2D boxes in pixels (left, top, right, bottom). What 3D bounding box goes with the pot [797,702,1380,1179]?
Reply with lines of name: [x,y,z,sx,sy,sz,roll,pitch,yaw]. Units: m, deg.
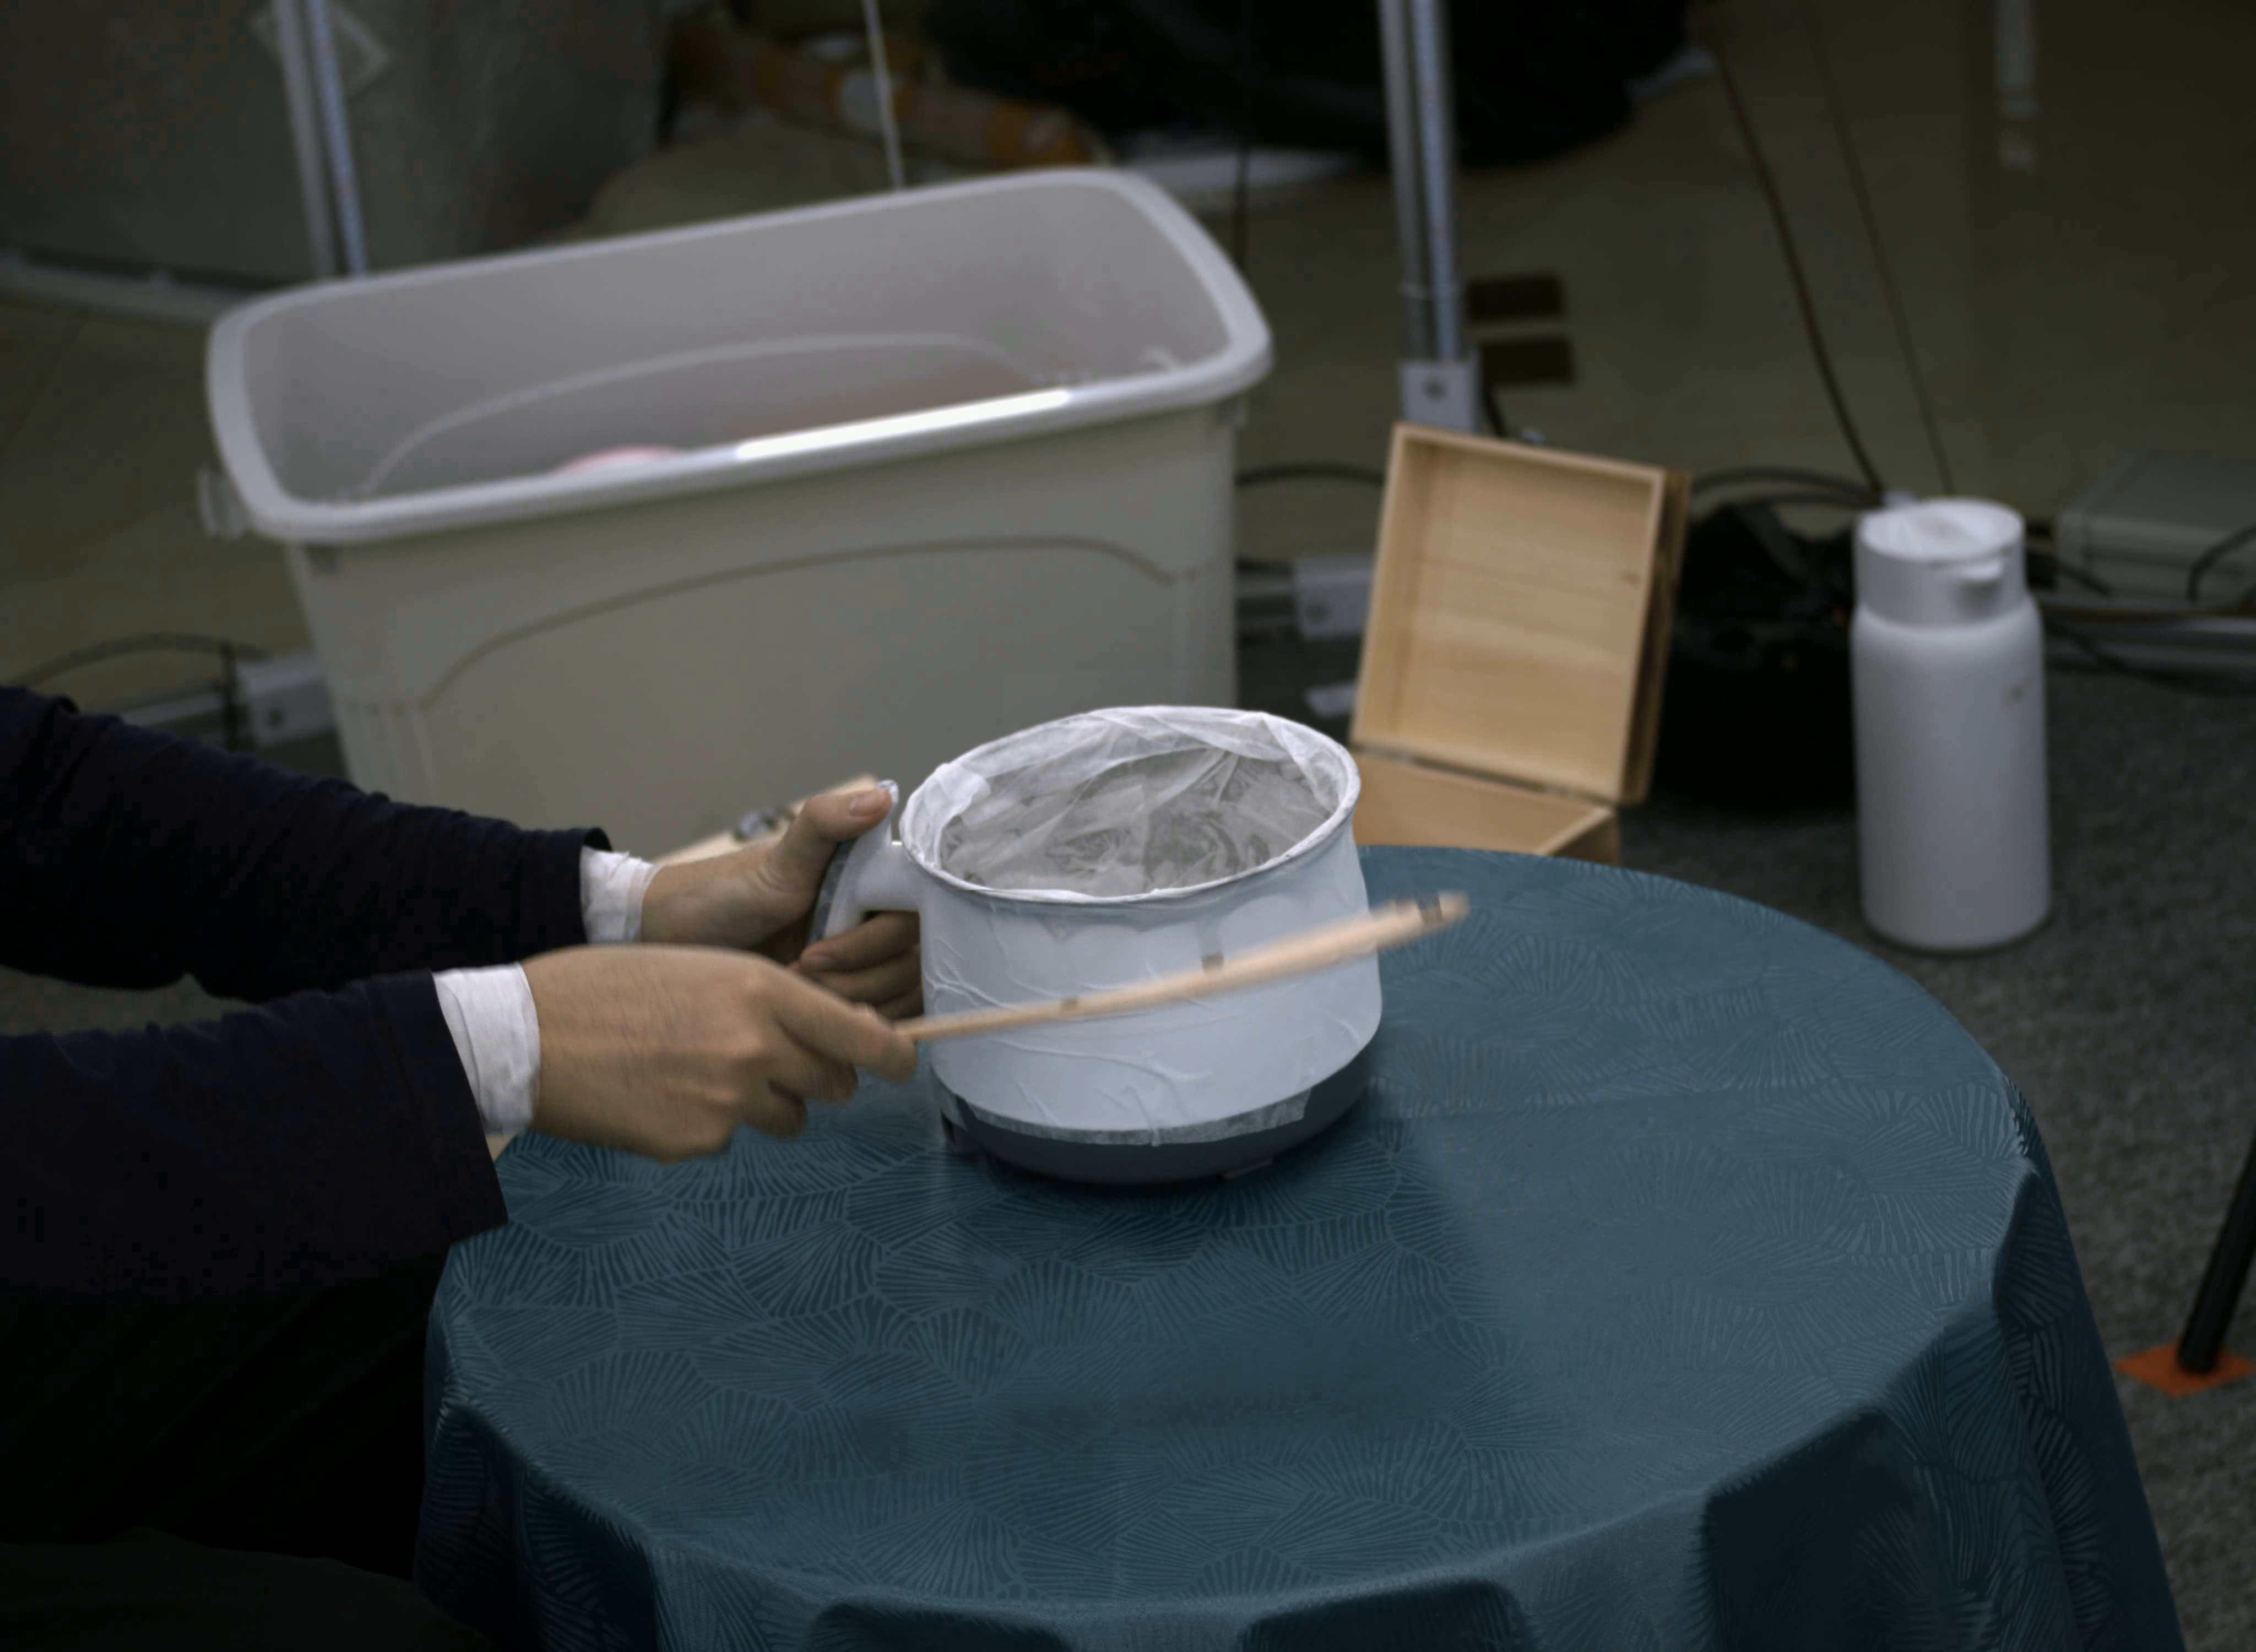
pot: [-0.019,0.044,2.188,0.233,0.139,0.176,3,26,16]

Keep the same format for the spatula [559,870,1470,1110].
spatula: [-0.040,0.057,1.986,0.327,0.016,0.079,-13,4,0]
